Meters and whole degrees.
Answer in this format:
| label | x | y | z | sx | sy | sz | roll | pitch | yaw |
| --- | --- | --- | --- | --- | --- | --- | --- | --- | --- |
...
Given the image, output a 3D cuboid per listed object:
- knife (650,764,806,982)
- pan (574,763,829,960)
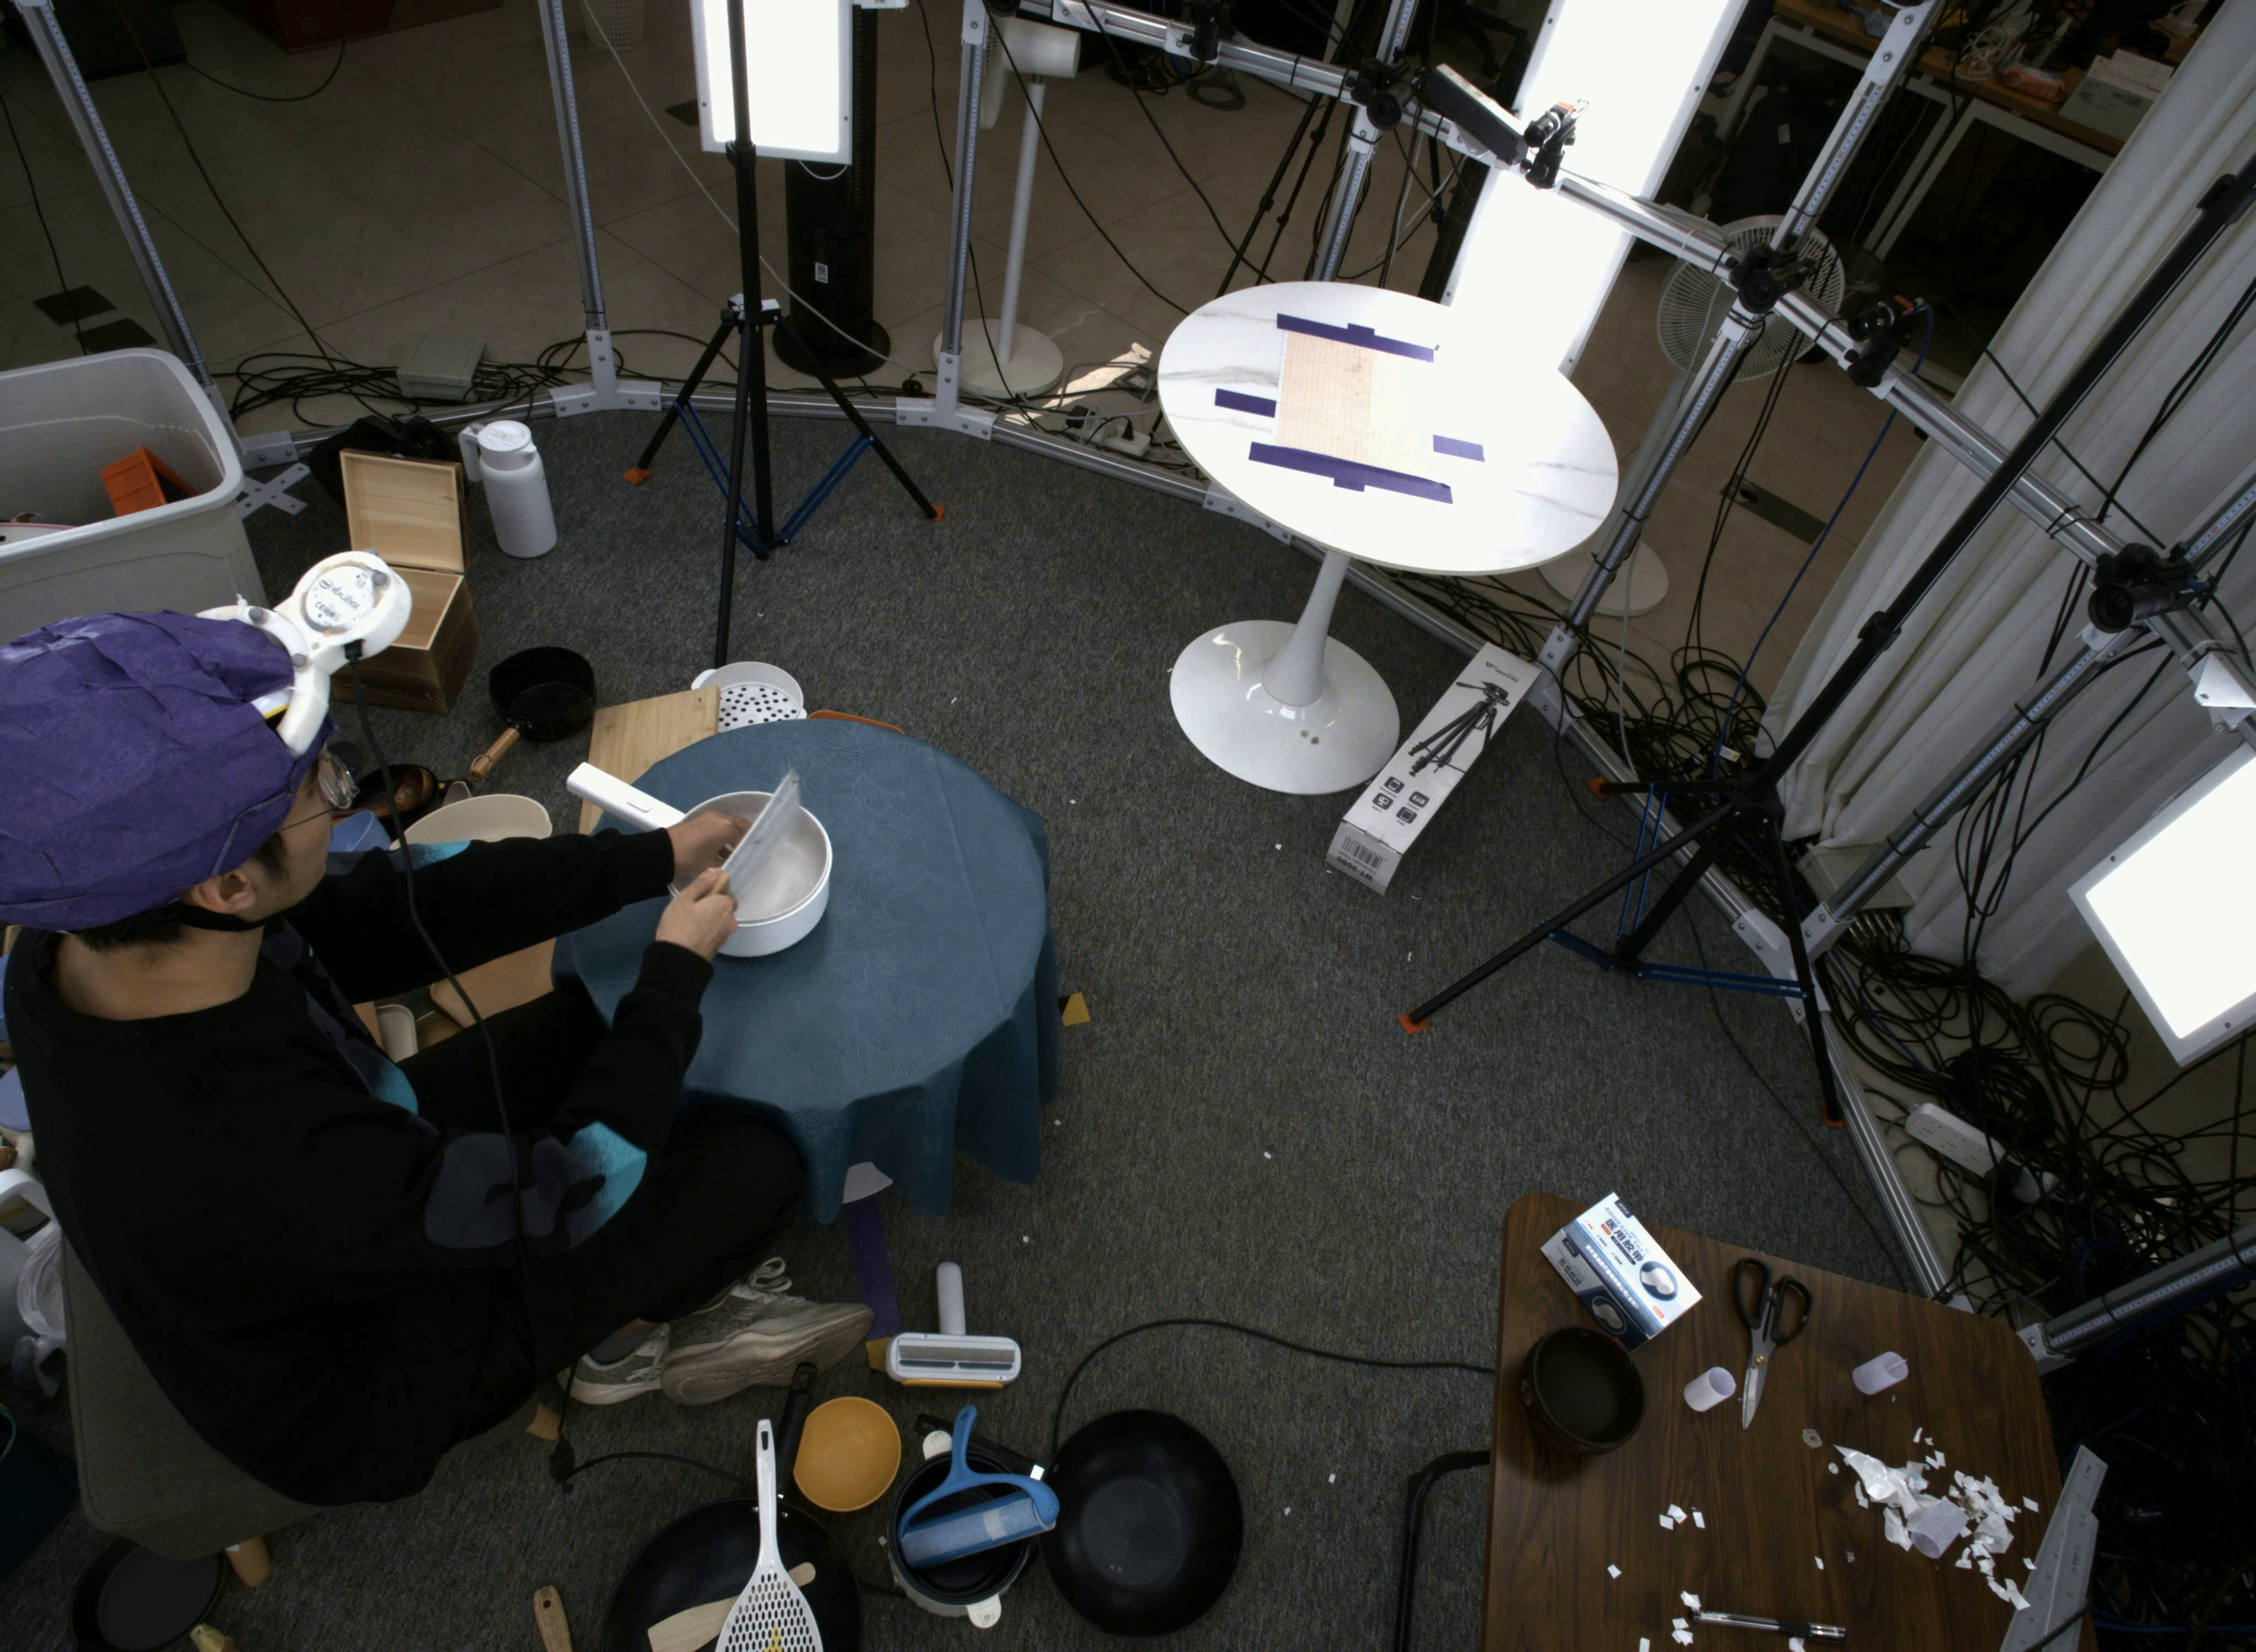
| label | x | y | z | sx | sy | sz | roll | pitch | yaw |
| --- | --- | --- | --- | --- | --- | --- | --- | --- | --- |
| knife | -0.434 | 0.050 | 1.425 | 0.021 | 0.117 | 0.312 | 18 | 43 | 8 |
| pan | -0.537 | 0.032 | 1.596 | 0.350 | 0.104 | 0.200 | 25 | 52 | 6 |
